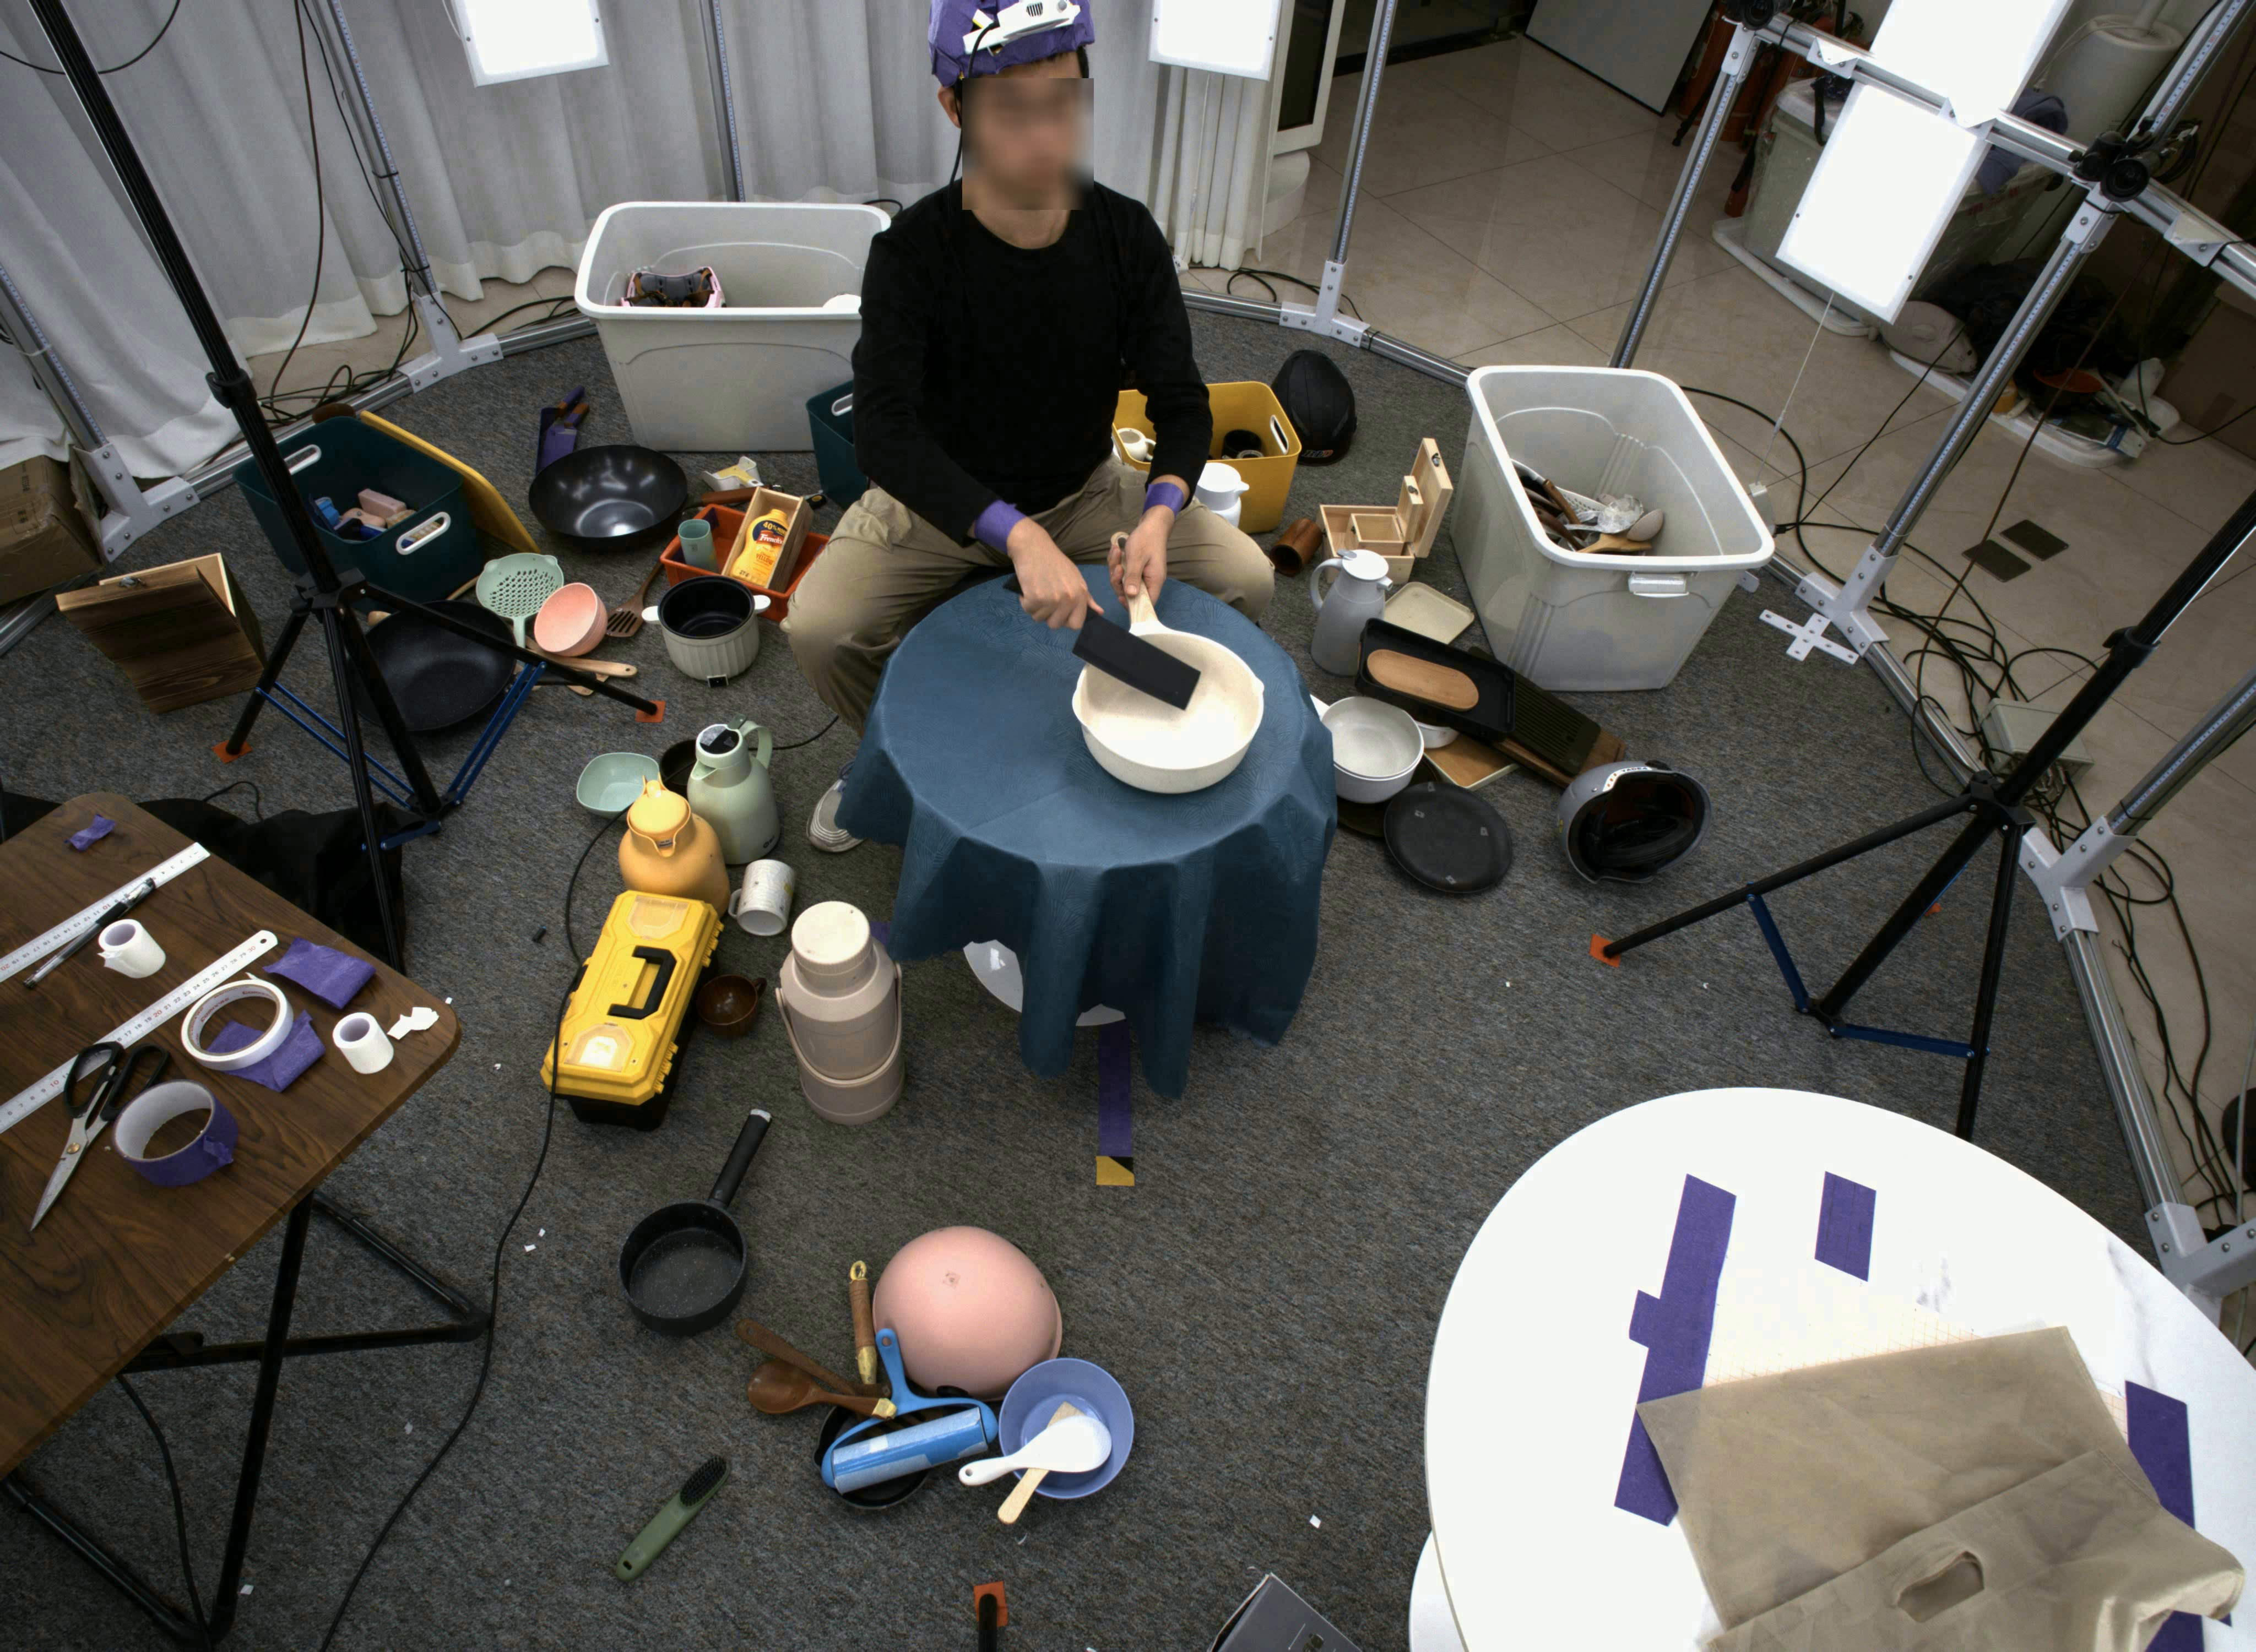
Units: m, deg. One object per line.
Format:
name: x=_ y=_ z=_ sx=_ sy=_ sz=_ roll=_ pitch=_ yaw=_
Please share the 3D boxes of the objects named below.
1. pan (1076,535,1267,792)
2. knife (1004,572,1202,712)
pan: x=0.037 y=-0.227 z=1.796 sx=0.263 sy=0.099 sz=0.445 roll=-9 pitch=53 yaw=-10
knife: x=-0.034 y=-0.250 z=1.733 sx=0.300 sy=0.021 sz=0.081 roll=32 pitch=77 yaw=-14
